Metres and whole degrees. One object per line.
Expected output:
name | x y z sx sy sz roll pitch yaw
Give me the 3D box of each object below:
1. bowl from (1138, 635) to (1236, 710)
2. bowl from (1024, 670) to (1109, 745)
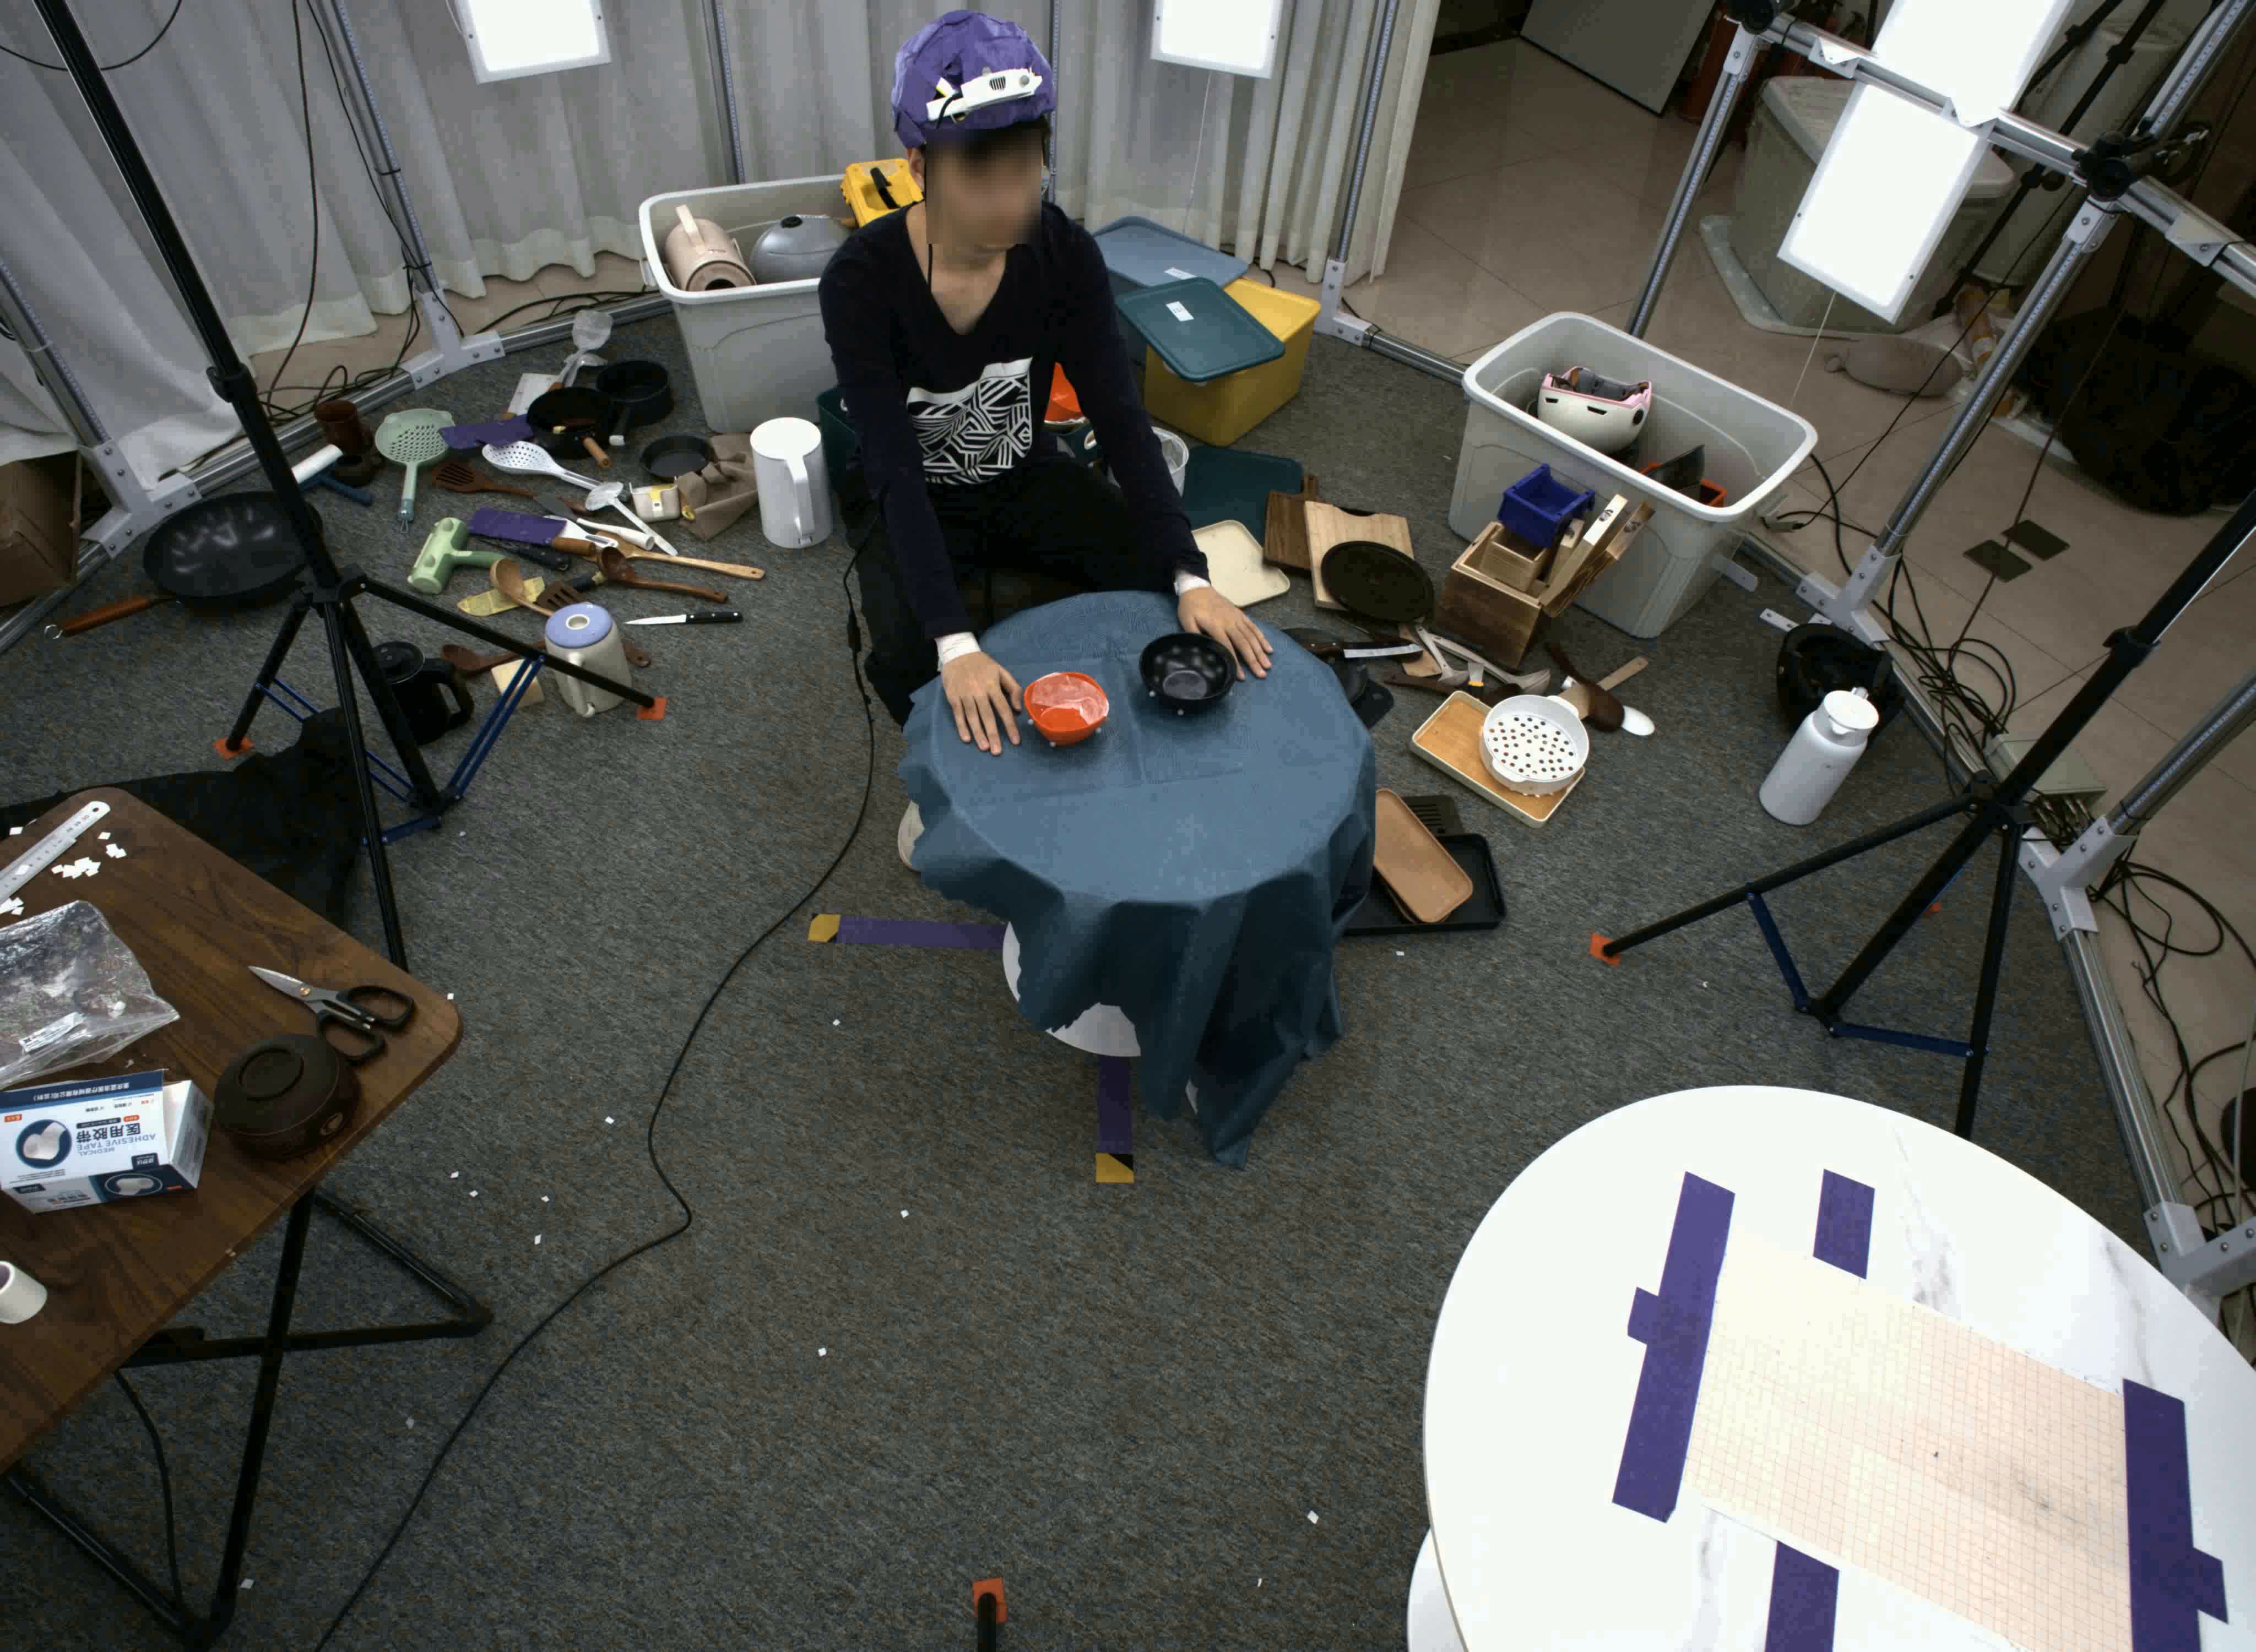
bowl | 0.083 -0.210 1.827 0.140 0.048 0.143 1 45 -1
bowl | -0.085 -0.156 1.763 0.119 0.050 0.122 2 51 -2
